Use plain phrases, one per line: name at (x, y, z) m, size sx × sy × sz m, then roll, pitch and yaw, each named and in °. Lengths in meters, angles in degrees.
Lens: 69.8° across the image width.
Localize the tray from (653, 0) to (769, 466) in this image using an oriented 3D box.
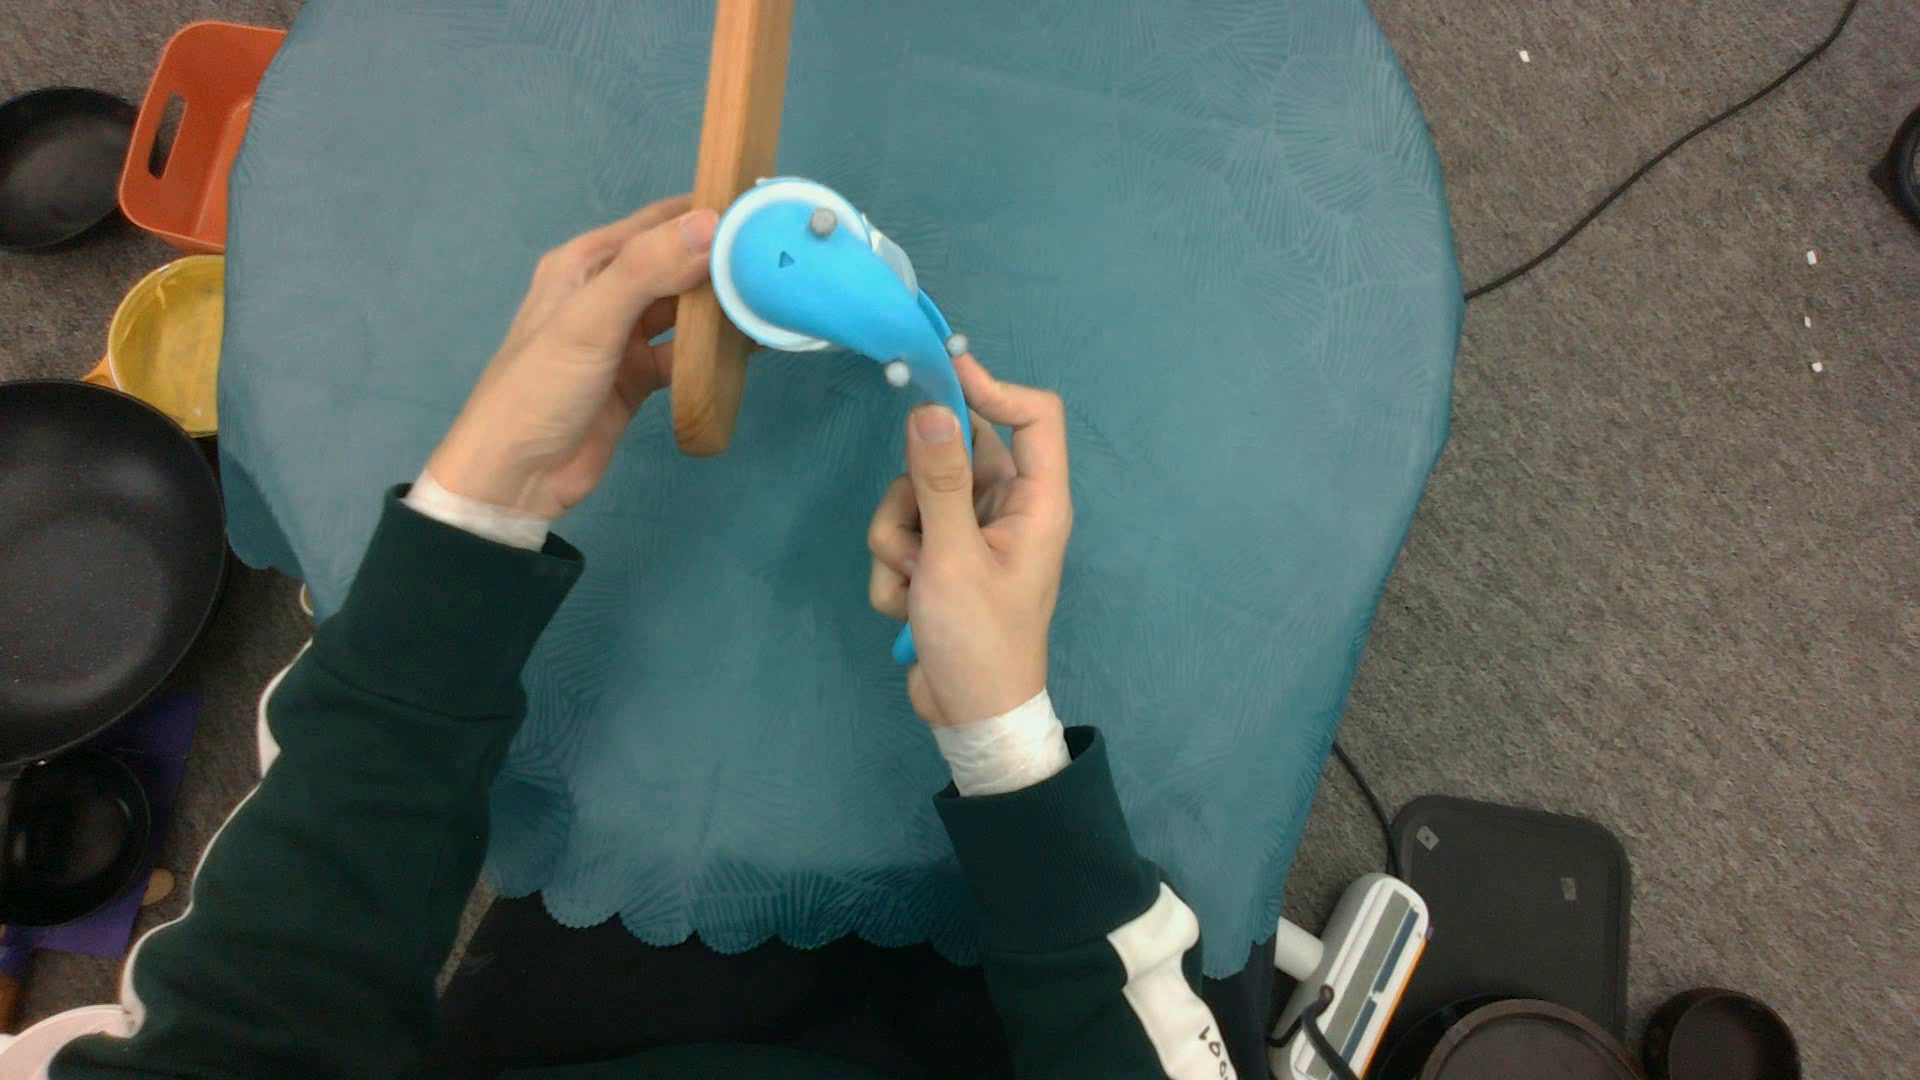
tray at (-0.091, -0.143, 0.520) m, size 0.020 × 0.101 × 0.231 m, roll 4°, pitch 87°, yaw -1°

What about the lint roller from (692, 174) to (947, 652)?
lint roller at (-0.036, -0.049, 0.542) m, size 0.068 × 0.229 × 0.180 m, roll -21°, pitch 100°, yaw 2°
